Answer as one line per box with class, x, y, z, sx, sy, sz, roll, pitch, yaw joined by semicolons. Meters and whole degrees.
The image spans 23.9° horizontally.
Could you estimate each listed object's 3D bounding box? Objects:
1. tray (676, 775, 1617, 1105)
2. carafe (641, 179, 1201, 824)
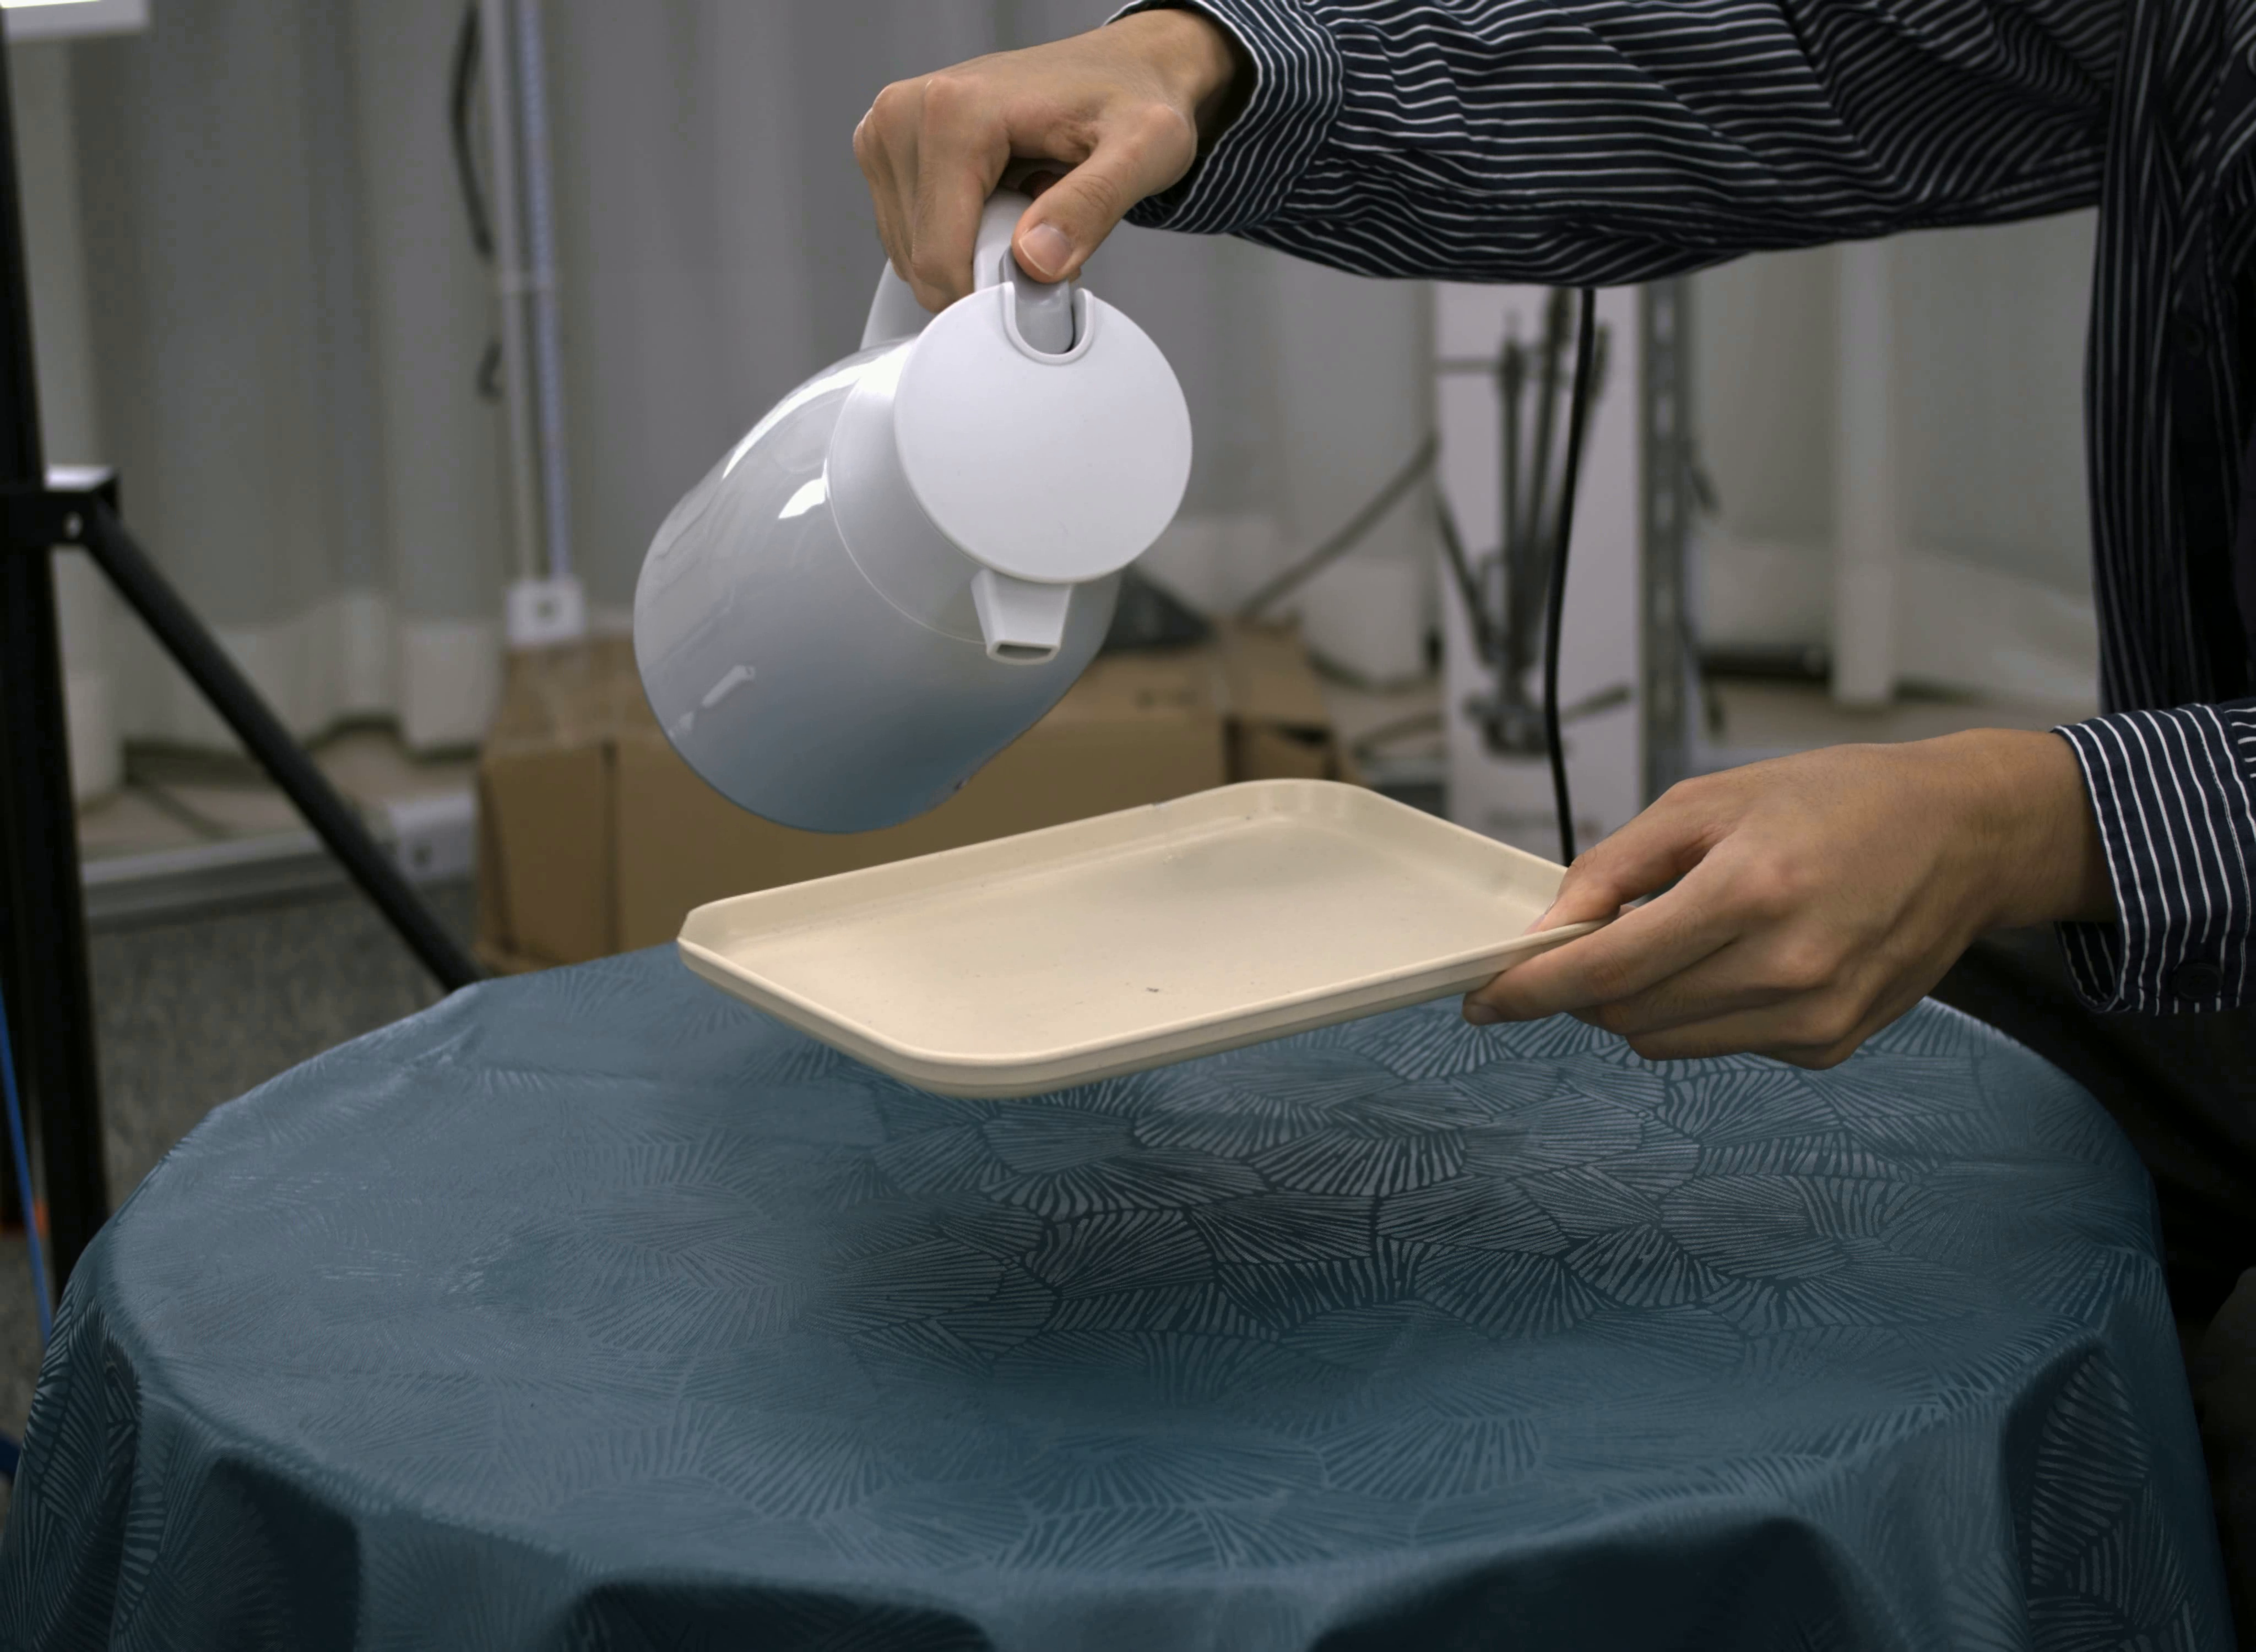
tray;0.006;0.031;1.504;0.234;0.017;0.175;-12;21;-31
carafe;-0.061;-0.107;1.656;0.130;0.169;0.251;-1;-12;-18
